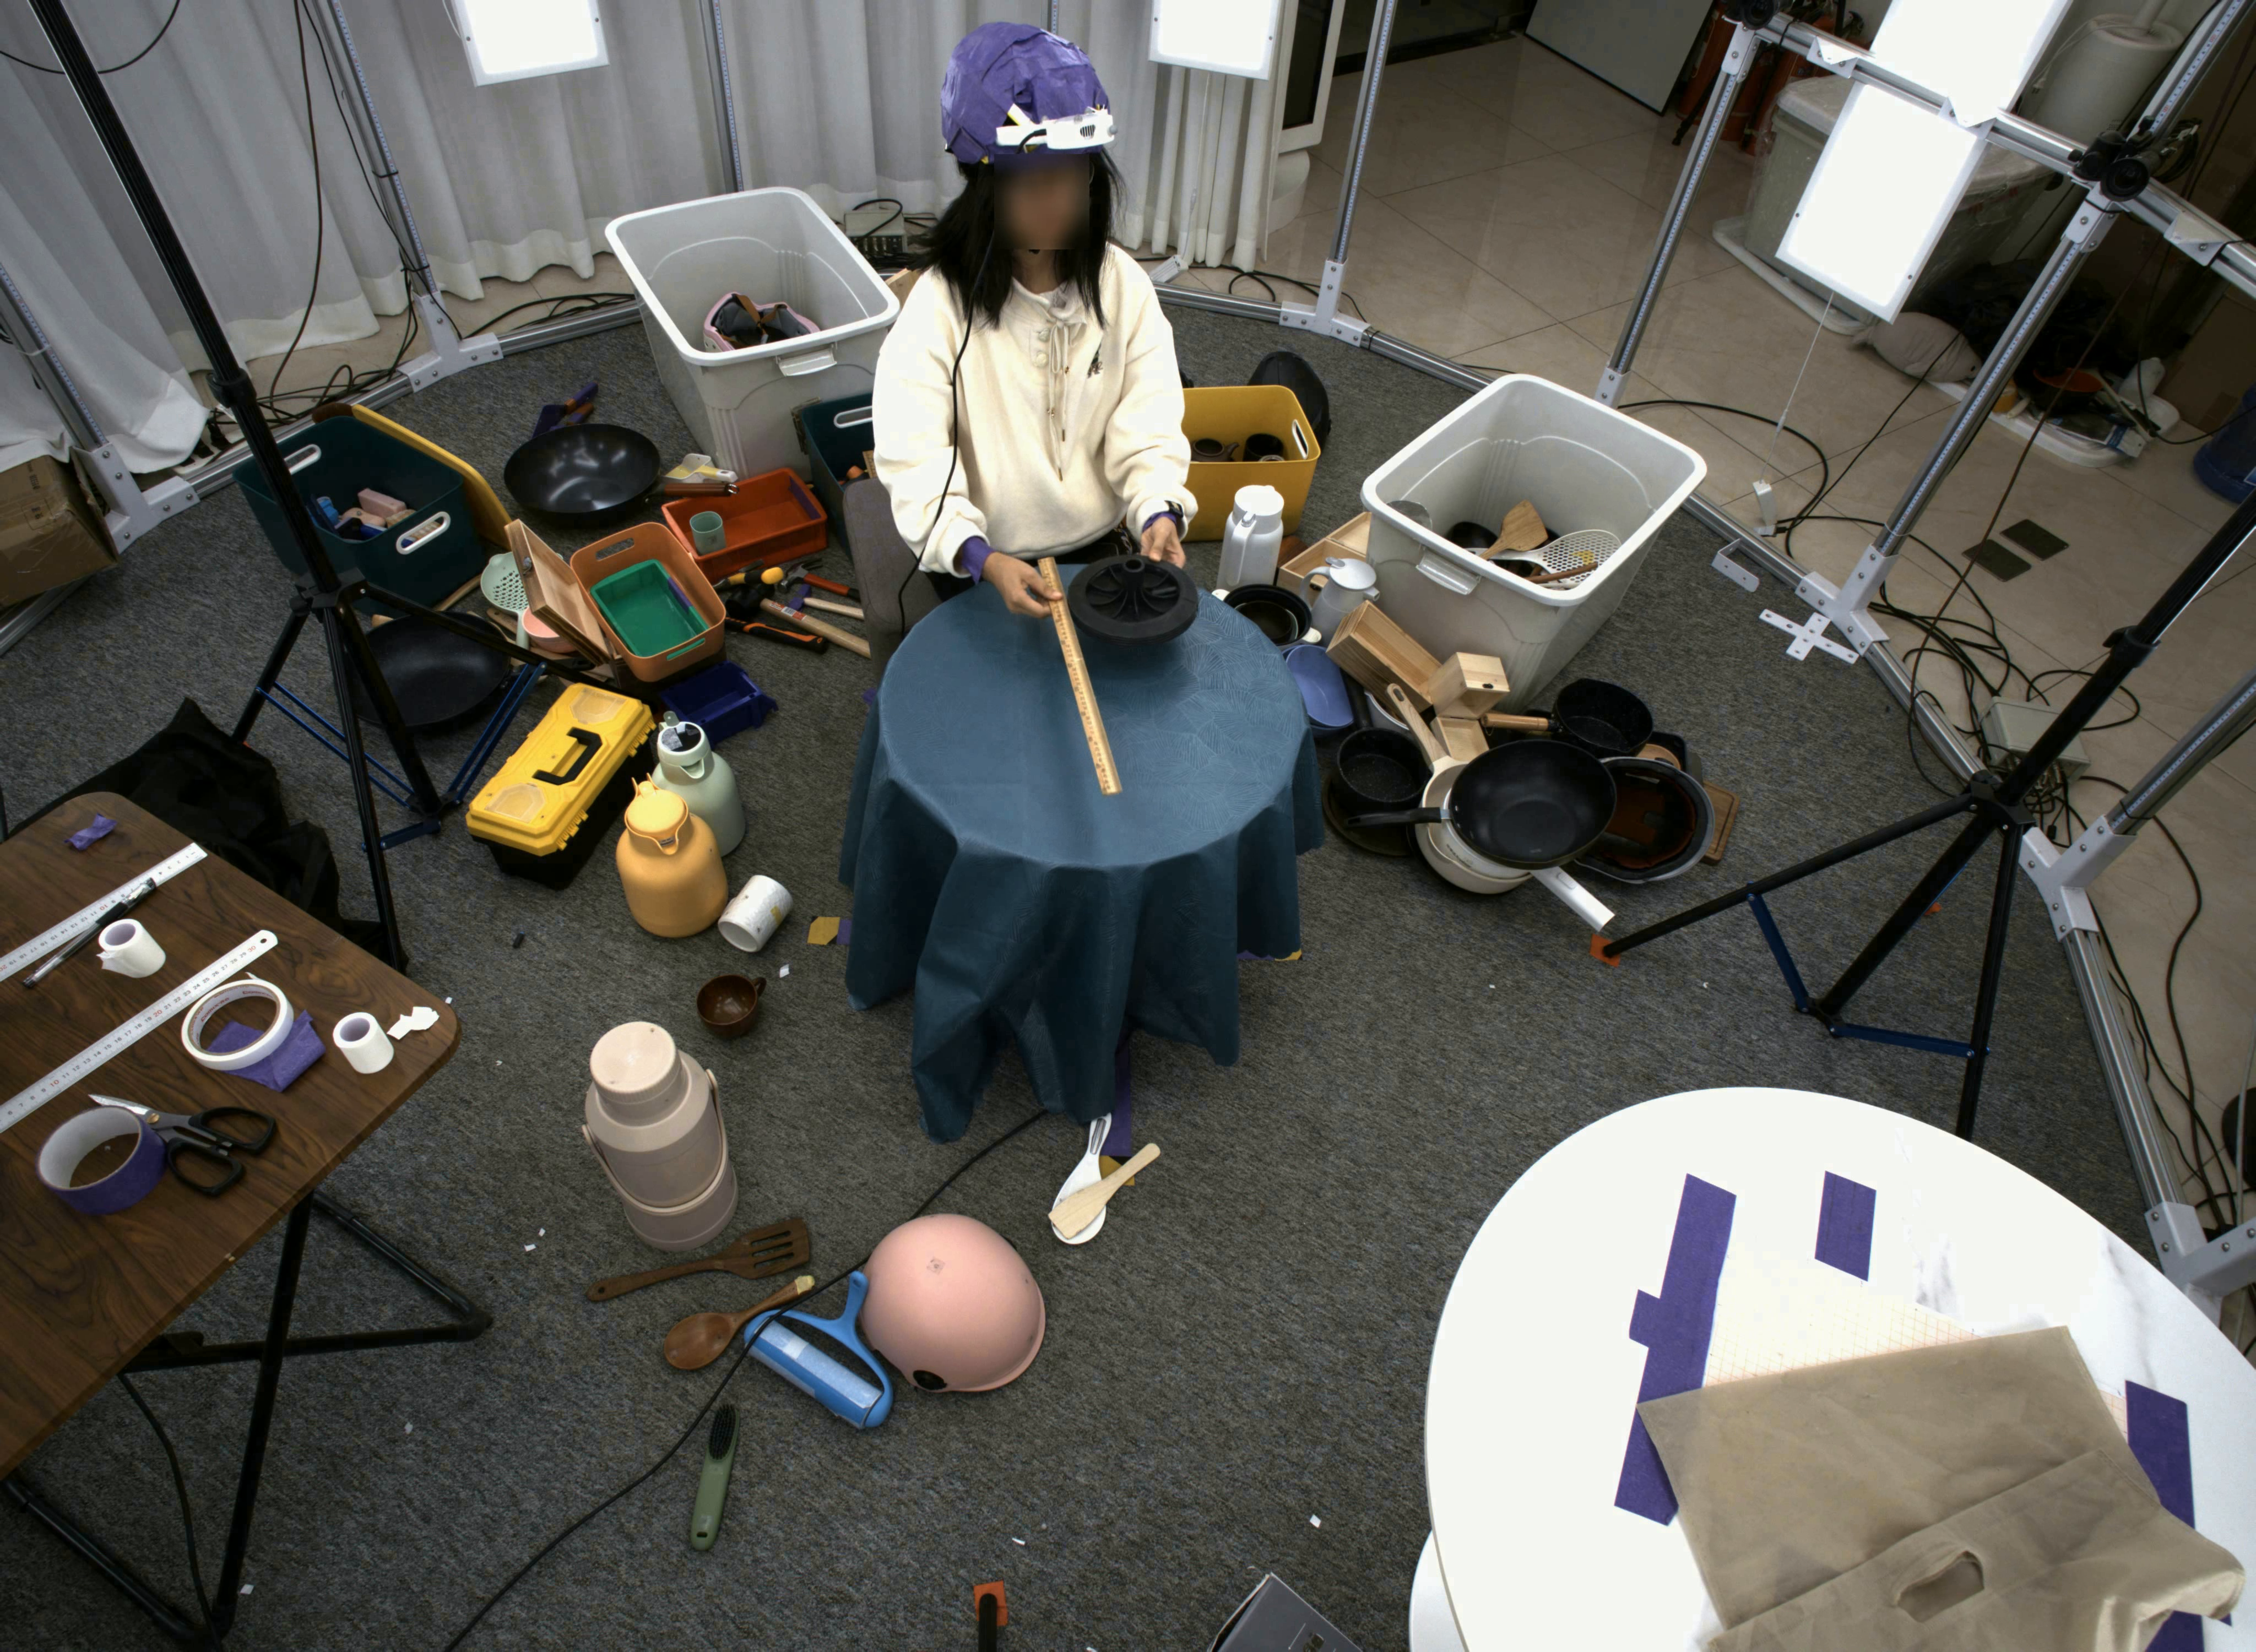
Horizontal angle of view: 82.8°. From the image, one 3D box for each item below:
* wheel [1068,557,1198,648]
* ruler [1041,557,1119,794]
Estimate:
[{"bbox_3d":[0.008,-0.339,1.840,0.191,0.077,0.190,-33,56,-27],"label":"wheel"},{"bbox_3d":[-0.071,-0.220,1.740,0.027,0.006,0.513,-11,46,-4],"label":"ruler"}]
